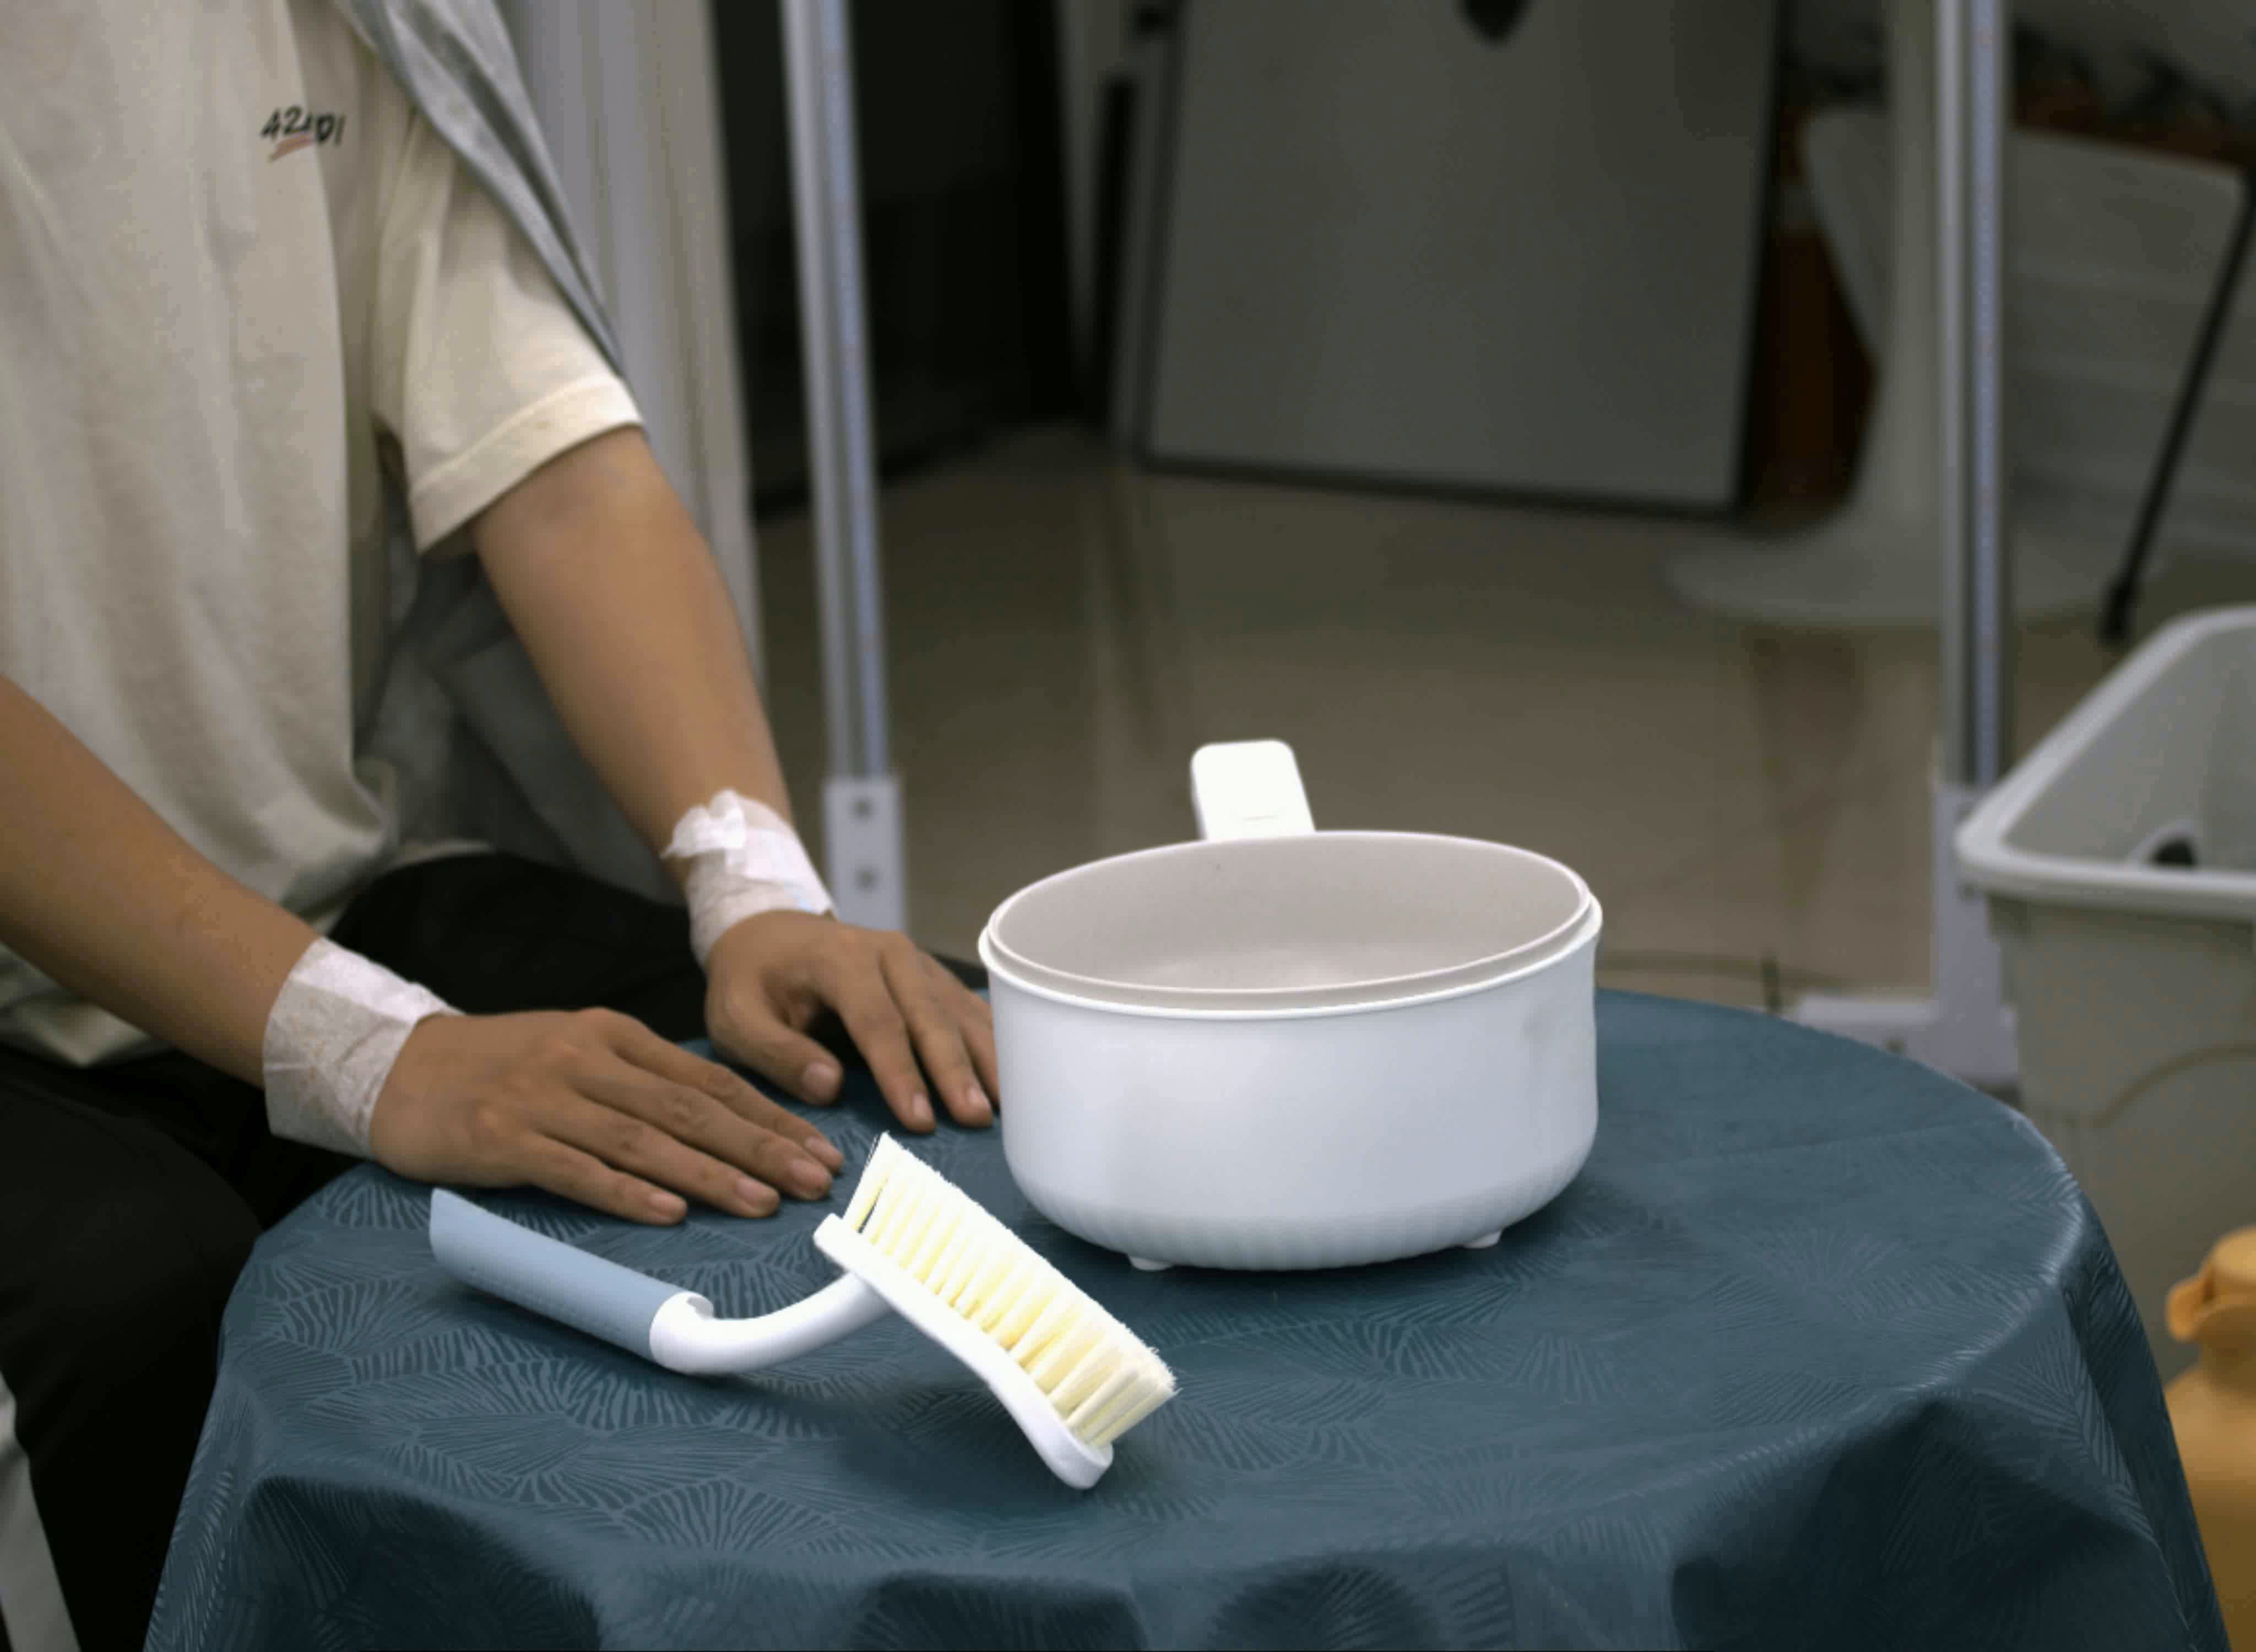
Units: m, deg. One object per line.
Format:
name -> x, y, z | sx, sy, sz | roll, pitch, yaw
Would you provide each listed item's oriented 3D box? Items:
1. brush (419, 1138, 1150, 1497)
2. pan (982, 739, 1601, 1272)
brush -> -0.104, 0.123, 1.623 | 0.083, 0.084, 0.329 | -23, 23, -35
pan -> 0.052, 0.056, 1.811 | 0.198, 0.103, 0.355 | -4, 13, -1
